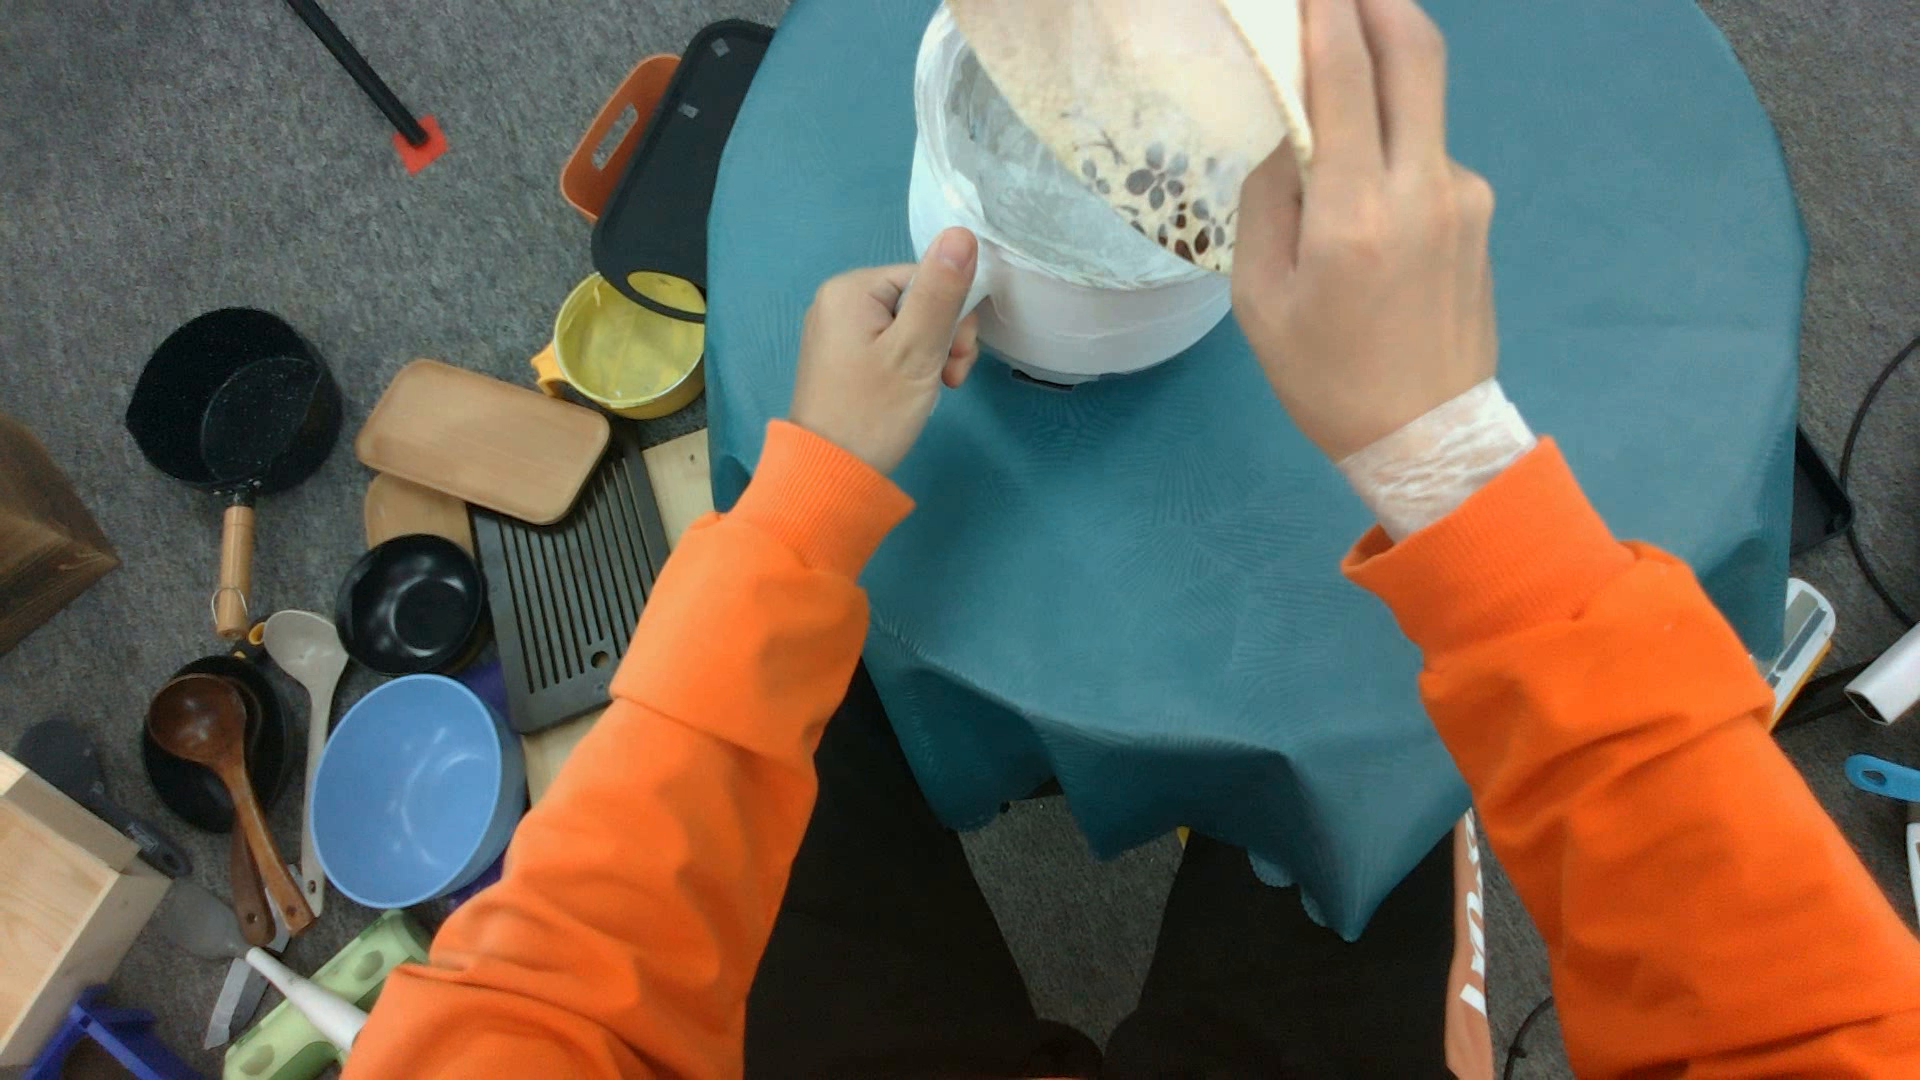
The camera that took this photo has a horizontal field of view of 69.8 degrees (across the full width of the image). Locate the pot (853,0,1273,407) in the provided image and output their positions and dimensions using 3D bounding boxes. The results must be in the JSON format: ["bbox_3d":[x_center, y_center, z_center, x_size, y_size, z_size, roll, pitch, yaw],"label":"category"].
[{"bbox_3d":[0.039,-0.163,0.652,0.179,0.136,0.234,41,76,7],"label":"pot"}]

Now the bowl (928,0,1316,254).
[{"bbox_3d":[0.069,-0.202,0.497,0.204,0.204,0.078,41,87,15],"label":"bowl"}]
